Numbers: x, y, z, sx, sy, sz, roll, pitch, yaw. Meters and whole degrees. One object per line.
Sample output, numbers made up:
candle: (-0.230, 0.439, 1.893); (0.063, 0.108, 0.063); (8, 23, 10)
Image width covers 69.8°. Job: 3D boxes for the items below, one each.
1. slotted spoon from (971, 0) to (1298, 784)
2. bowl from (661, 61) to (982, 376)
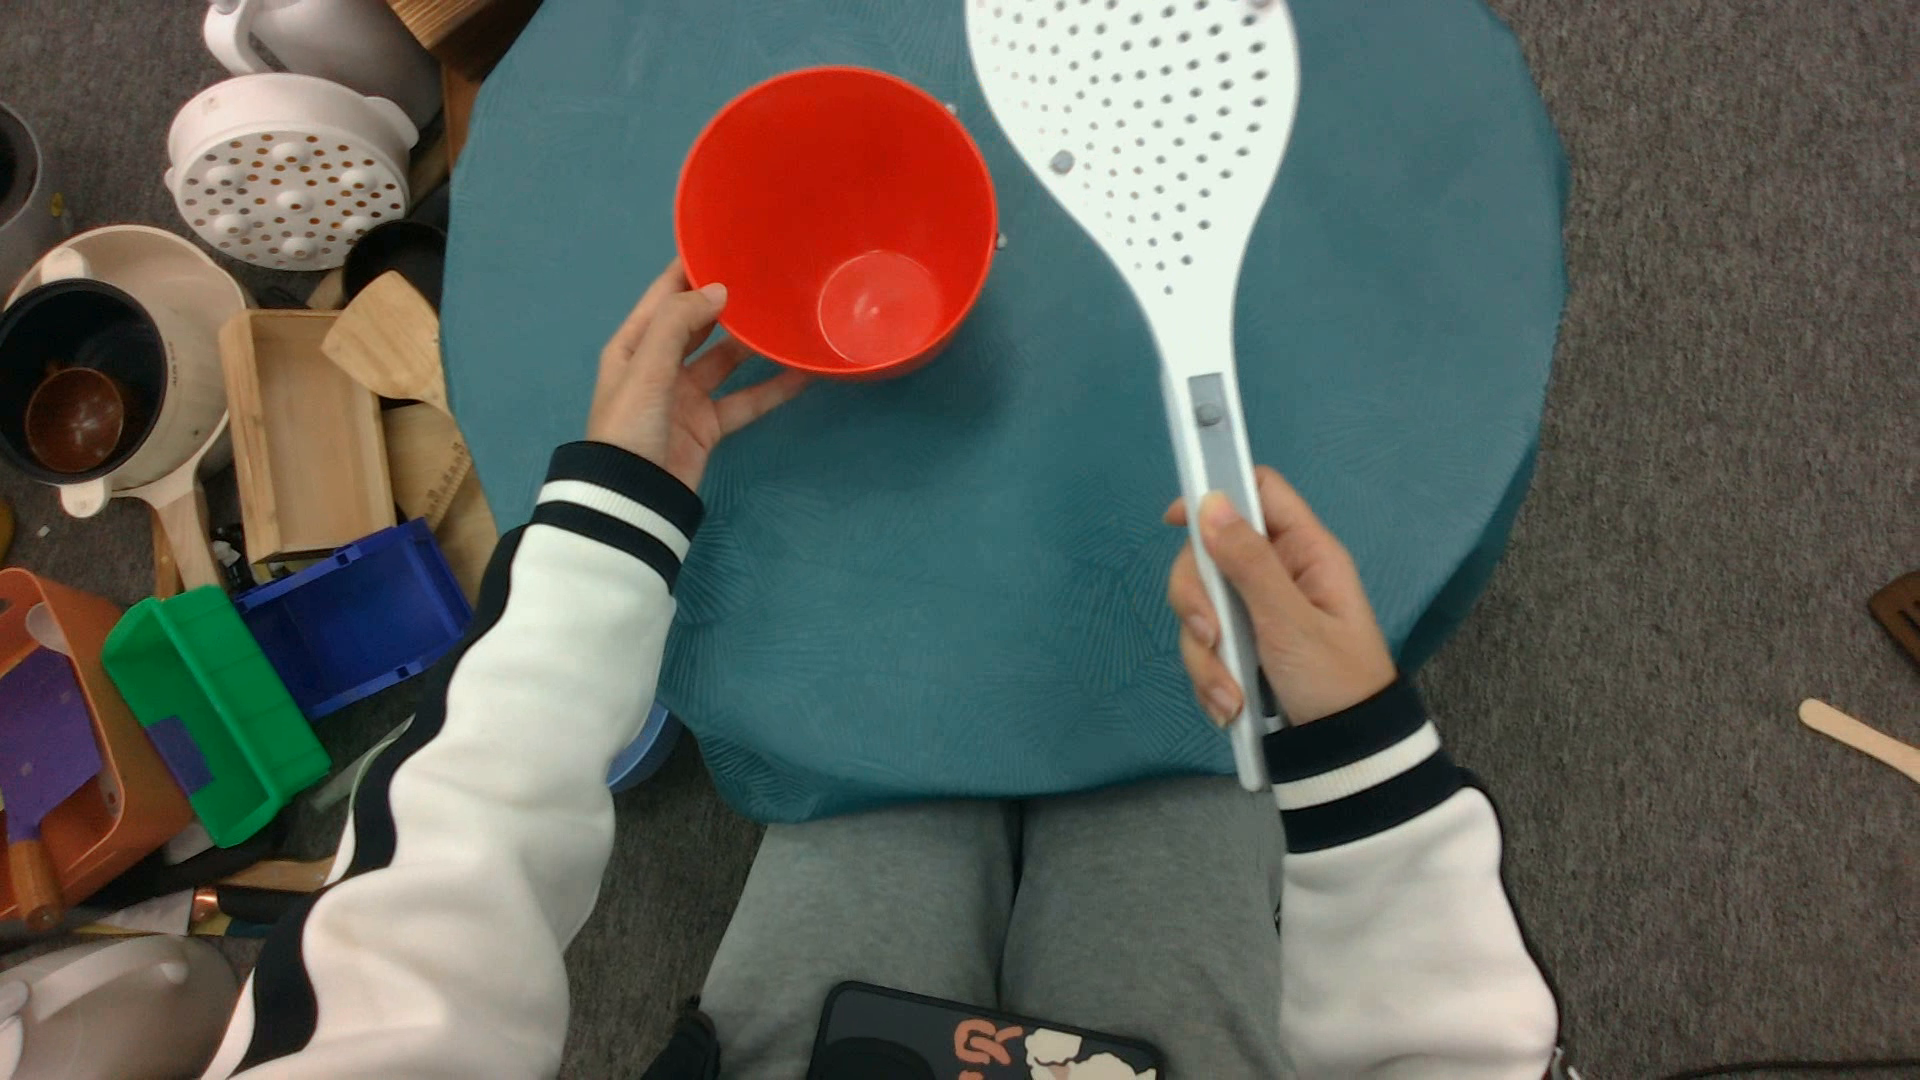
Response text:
slotted spoon: (0.084, -0.082, 0.521); (0.136, 0.045, 0.350); (-10, 86, -21)
bowl: (-0.062, -0.143, 0.676); (0.148, 0.104, 0.148); (0, 74, 1)
